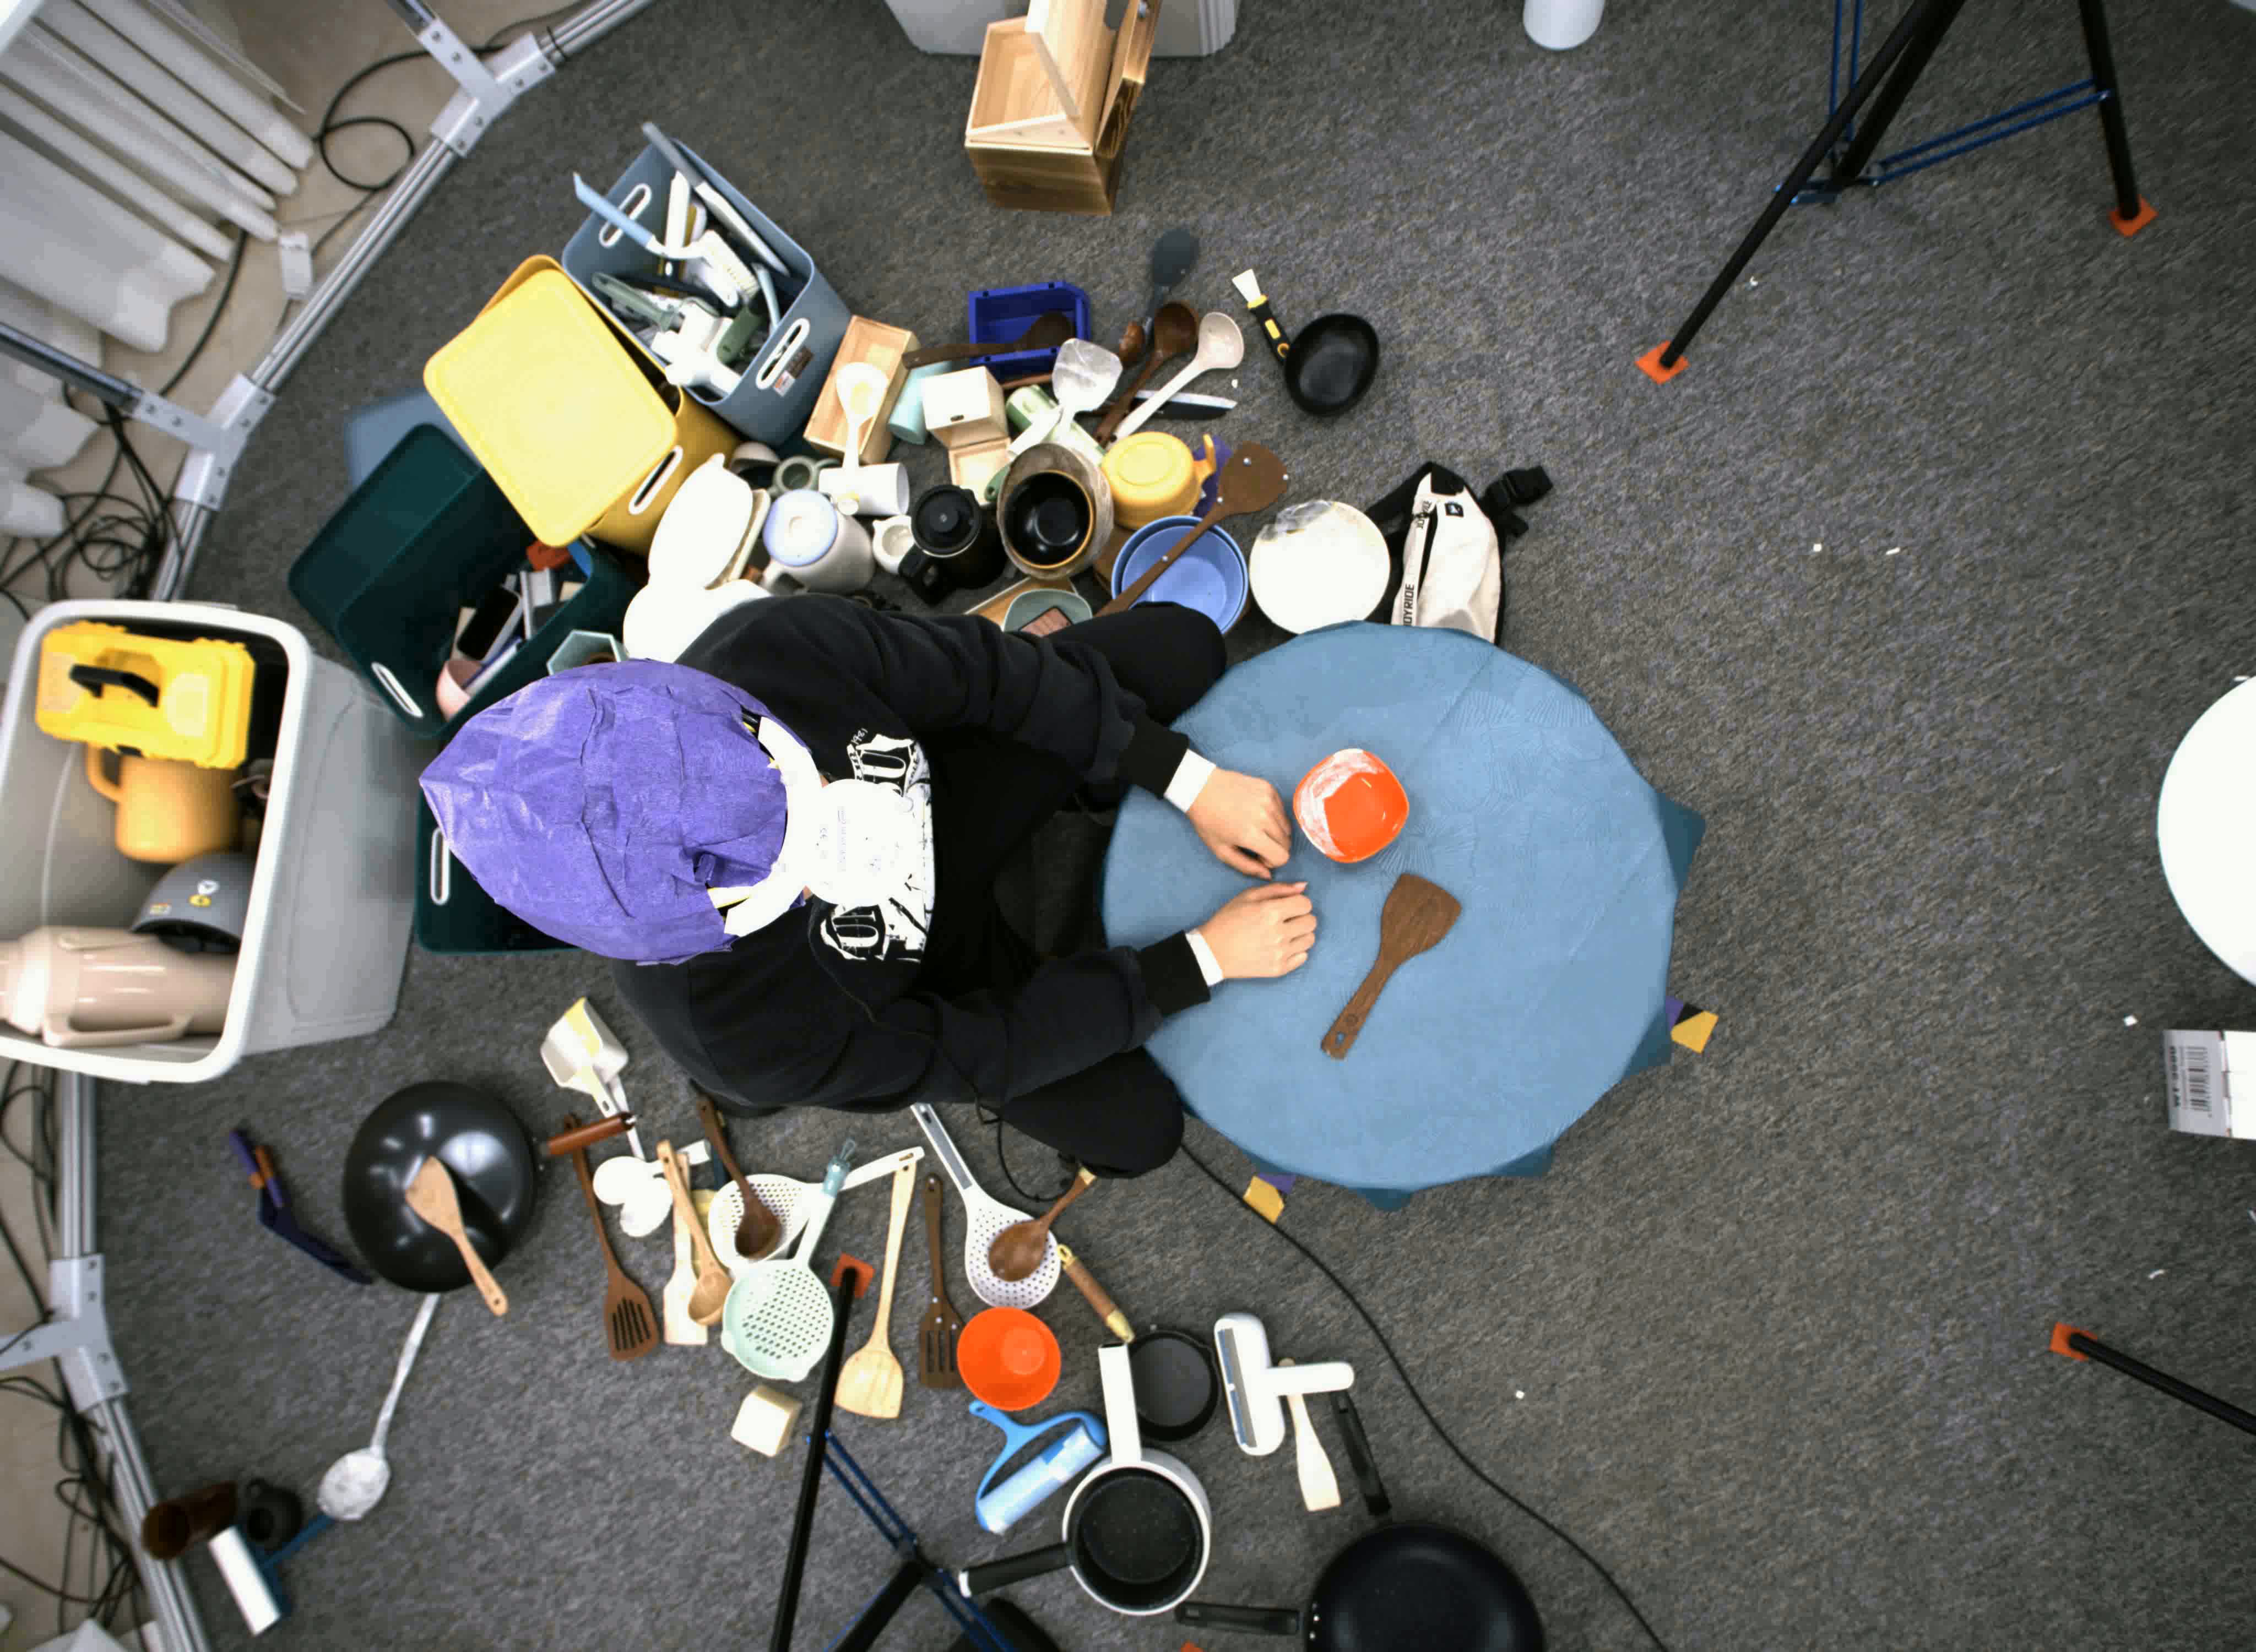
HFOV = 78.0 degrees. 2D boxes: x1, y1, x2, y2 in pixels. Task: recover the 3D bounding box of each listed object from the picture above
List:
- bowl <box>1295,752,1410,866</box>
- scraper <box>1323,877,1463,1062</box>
[{"bbox_3d":[0.236,-0.017,1.452,0.119,0.051,0.118,-1,87,9],"label":"bowl"},{"bbox_3d":[0.270,0.154,1.455,0.075,0.011,0.211,33,93,12],"label":"scraper"}]
